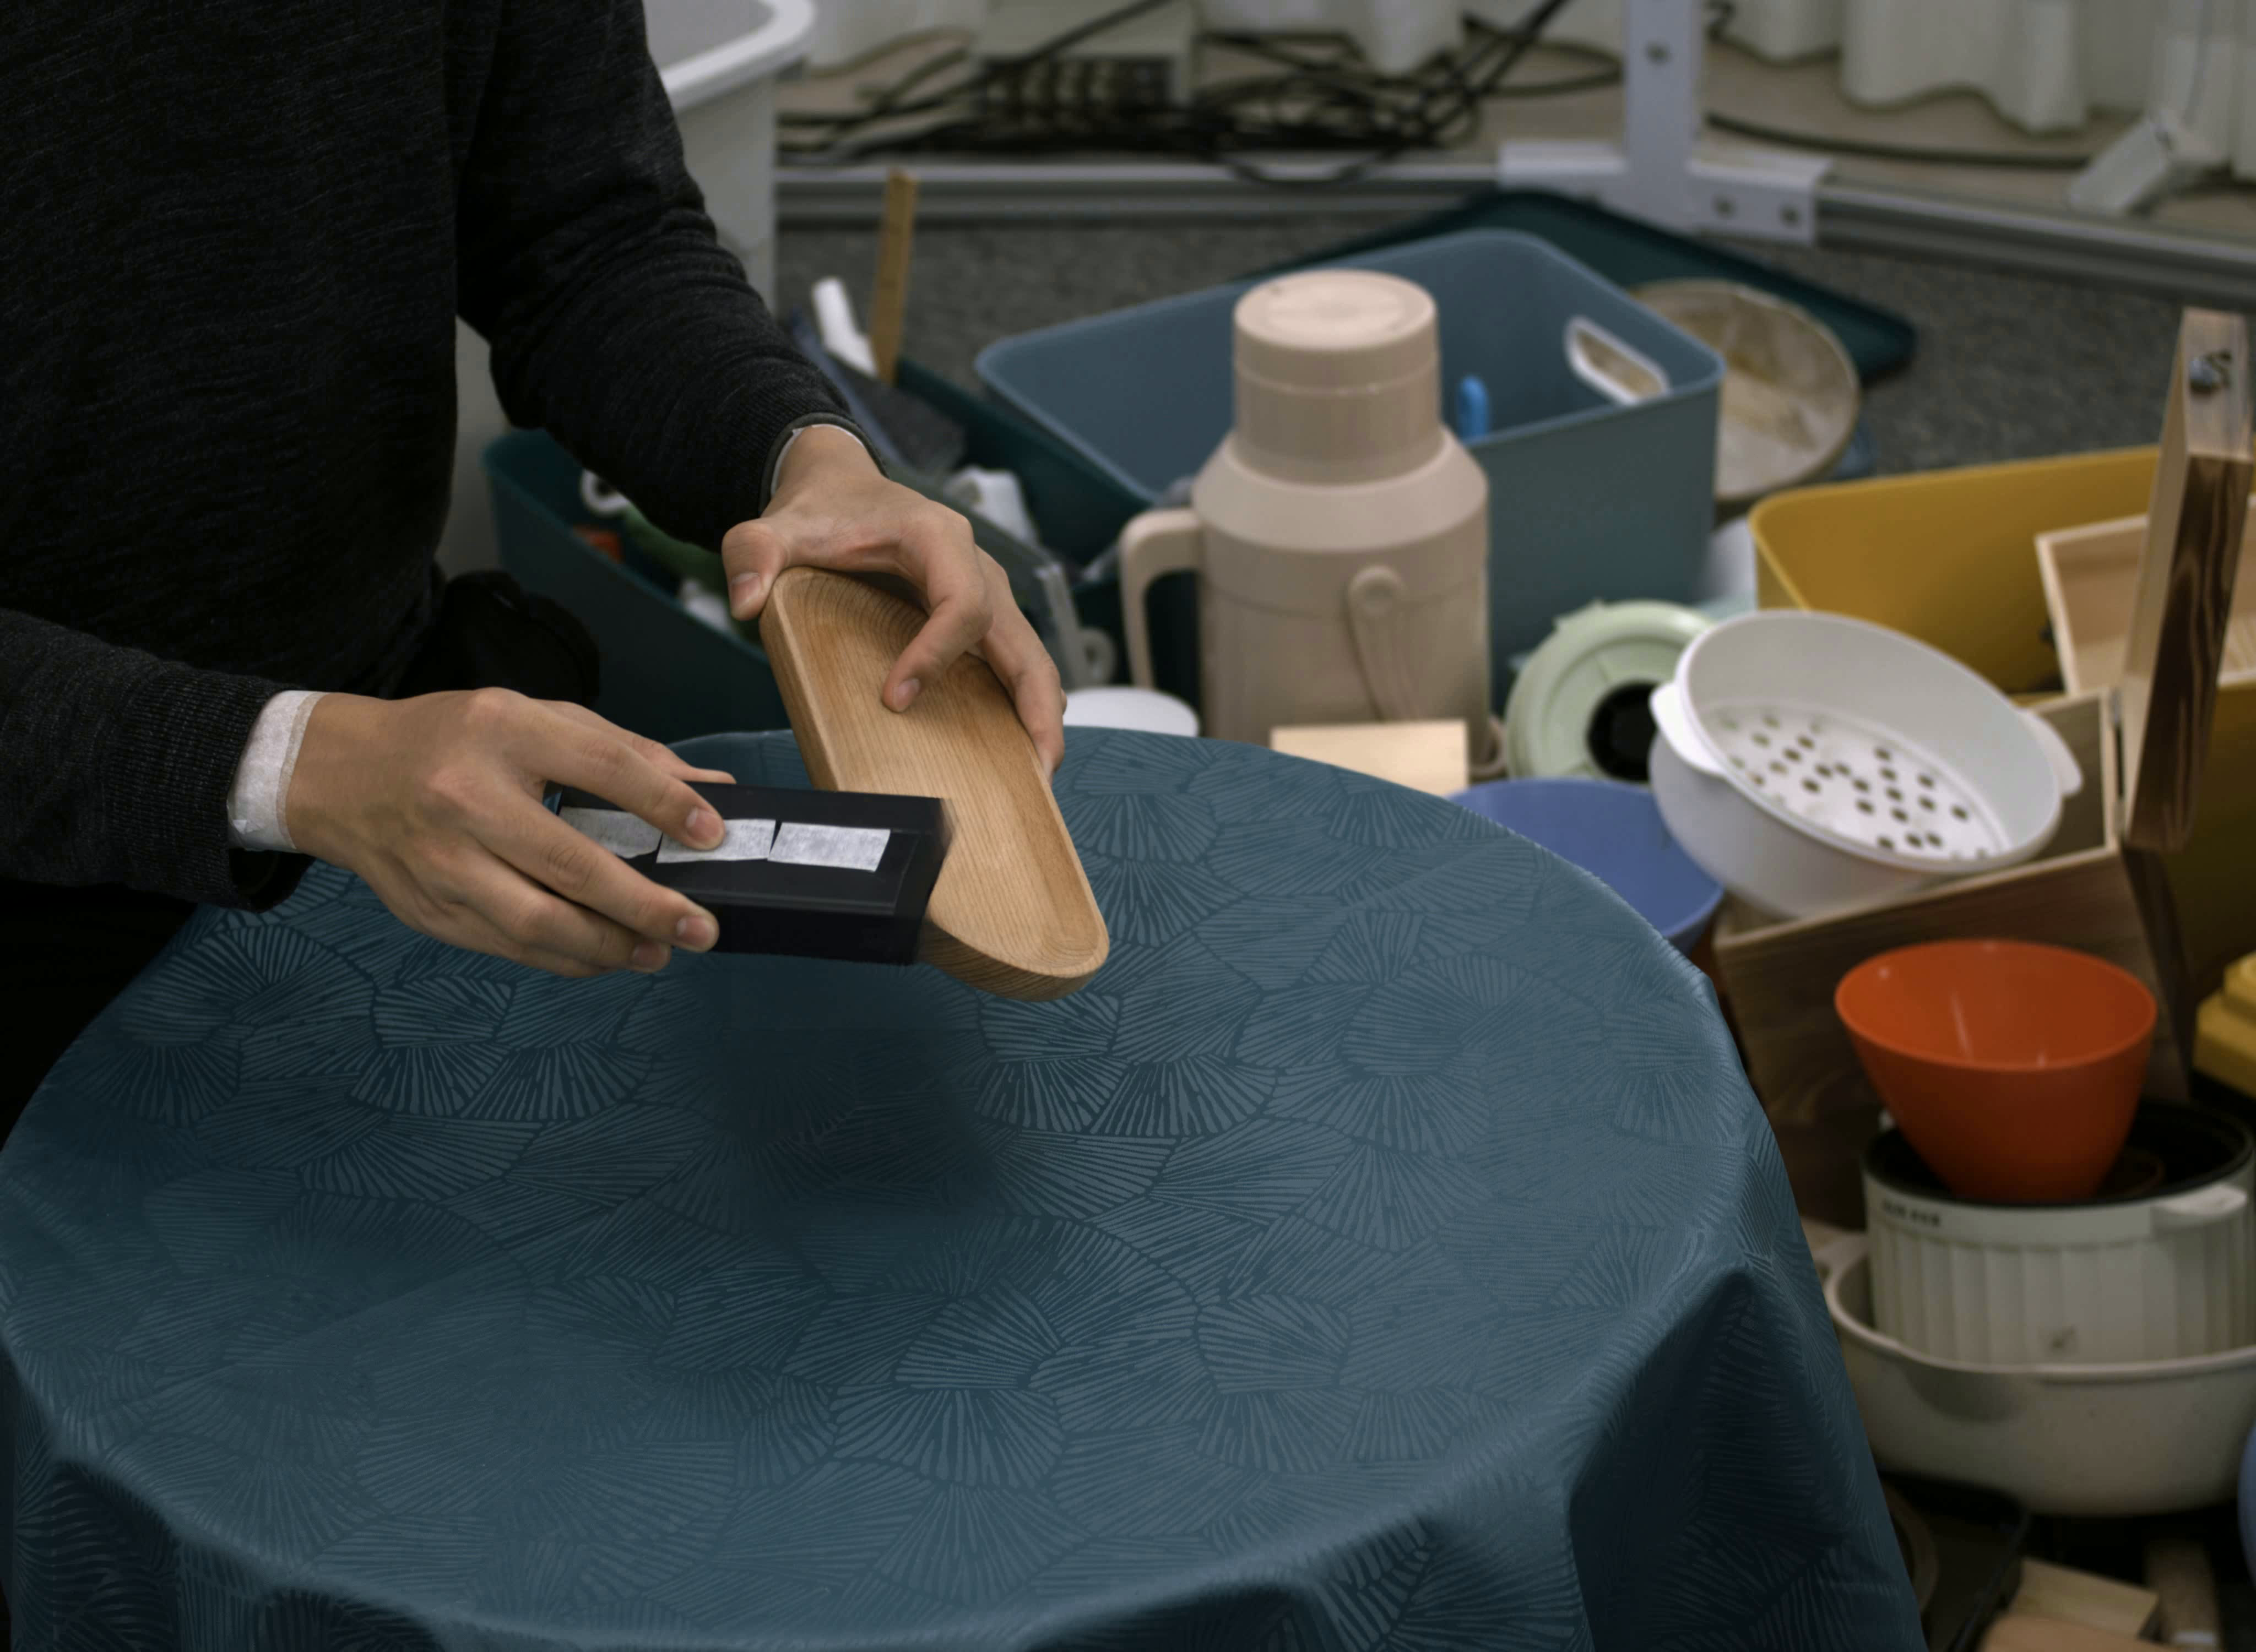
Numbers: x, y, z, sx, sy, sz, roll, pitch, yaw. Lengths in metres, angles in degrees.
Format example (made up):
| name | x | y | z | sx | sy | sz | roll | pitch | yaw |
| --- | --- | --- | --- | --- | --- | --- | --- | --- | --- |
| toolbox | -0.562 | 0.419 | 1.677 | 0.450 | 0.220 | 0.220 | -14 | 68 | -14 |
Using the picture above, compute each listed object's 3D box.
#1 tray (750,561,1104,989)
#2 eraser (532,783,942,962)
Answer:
| name | x | y | z | sx | sy | sz | roll | pitch | yaw |
| --- | --- | --- | --- | --- | --- | --- | --- | --- | --- |
| tray | -0.070 | -0.019 | 1.894 | 0.101 | 0.020 | 0.234 | 24 | 22 | -29 |
| eraser | -0.123 | 0.014 | 1.786 | 0.124 | 0.030 | 0.054 | 2 | 47 | 13 |
